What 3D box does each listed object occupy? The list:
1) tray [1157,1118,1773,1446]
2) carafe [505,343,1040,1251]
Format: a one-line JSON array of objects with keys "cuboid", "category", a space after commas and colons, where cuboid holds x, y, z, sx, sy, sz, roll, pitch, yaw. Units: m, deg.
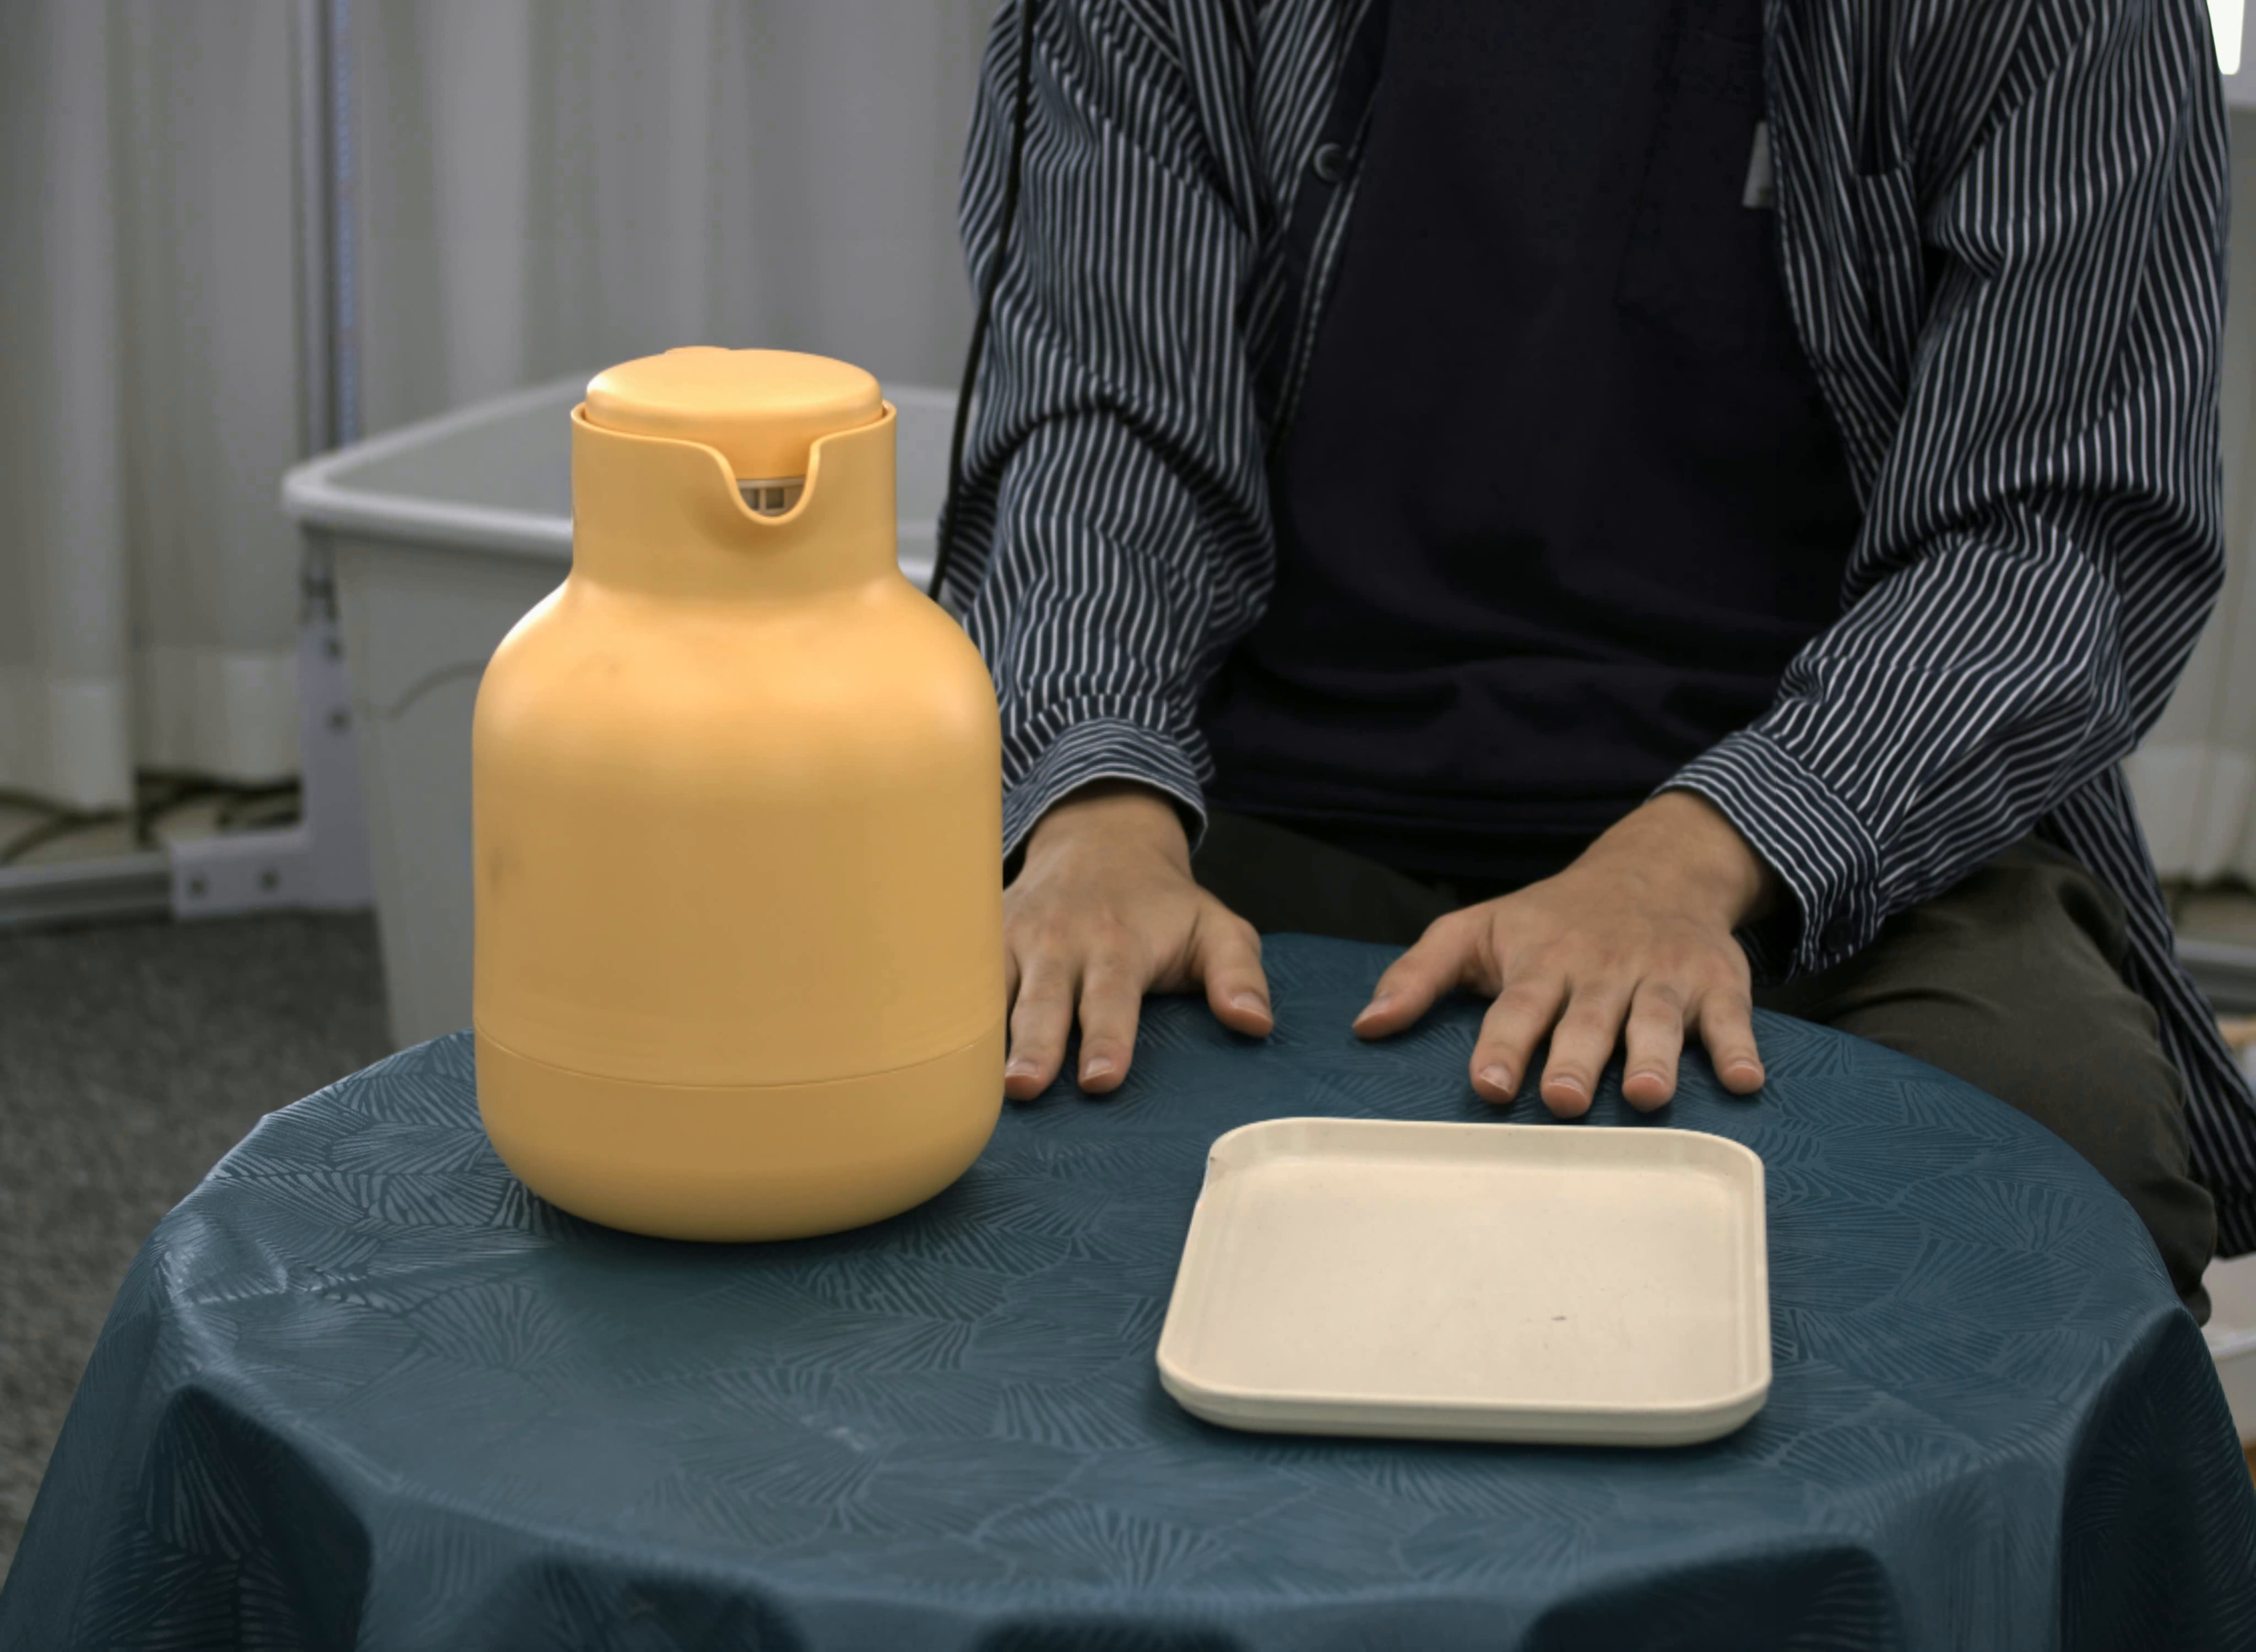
[{"cuboid": [0.100, 0.131, 1.531, 0.170, 0.017, 0.239, 2, 15, 5], "category": "tray"}, {"cuboid": [-0.111, -0.017, 1.605, 0.164, 0.262, 0.200, -2, 16, -16], "category": "carafe"}]
